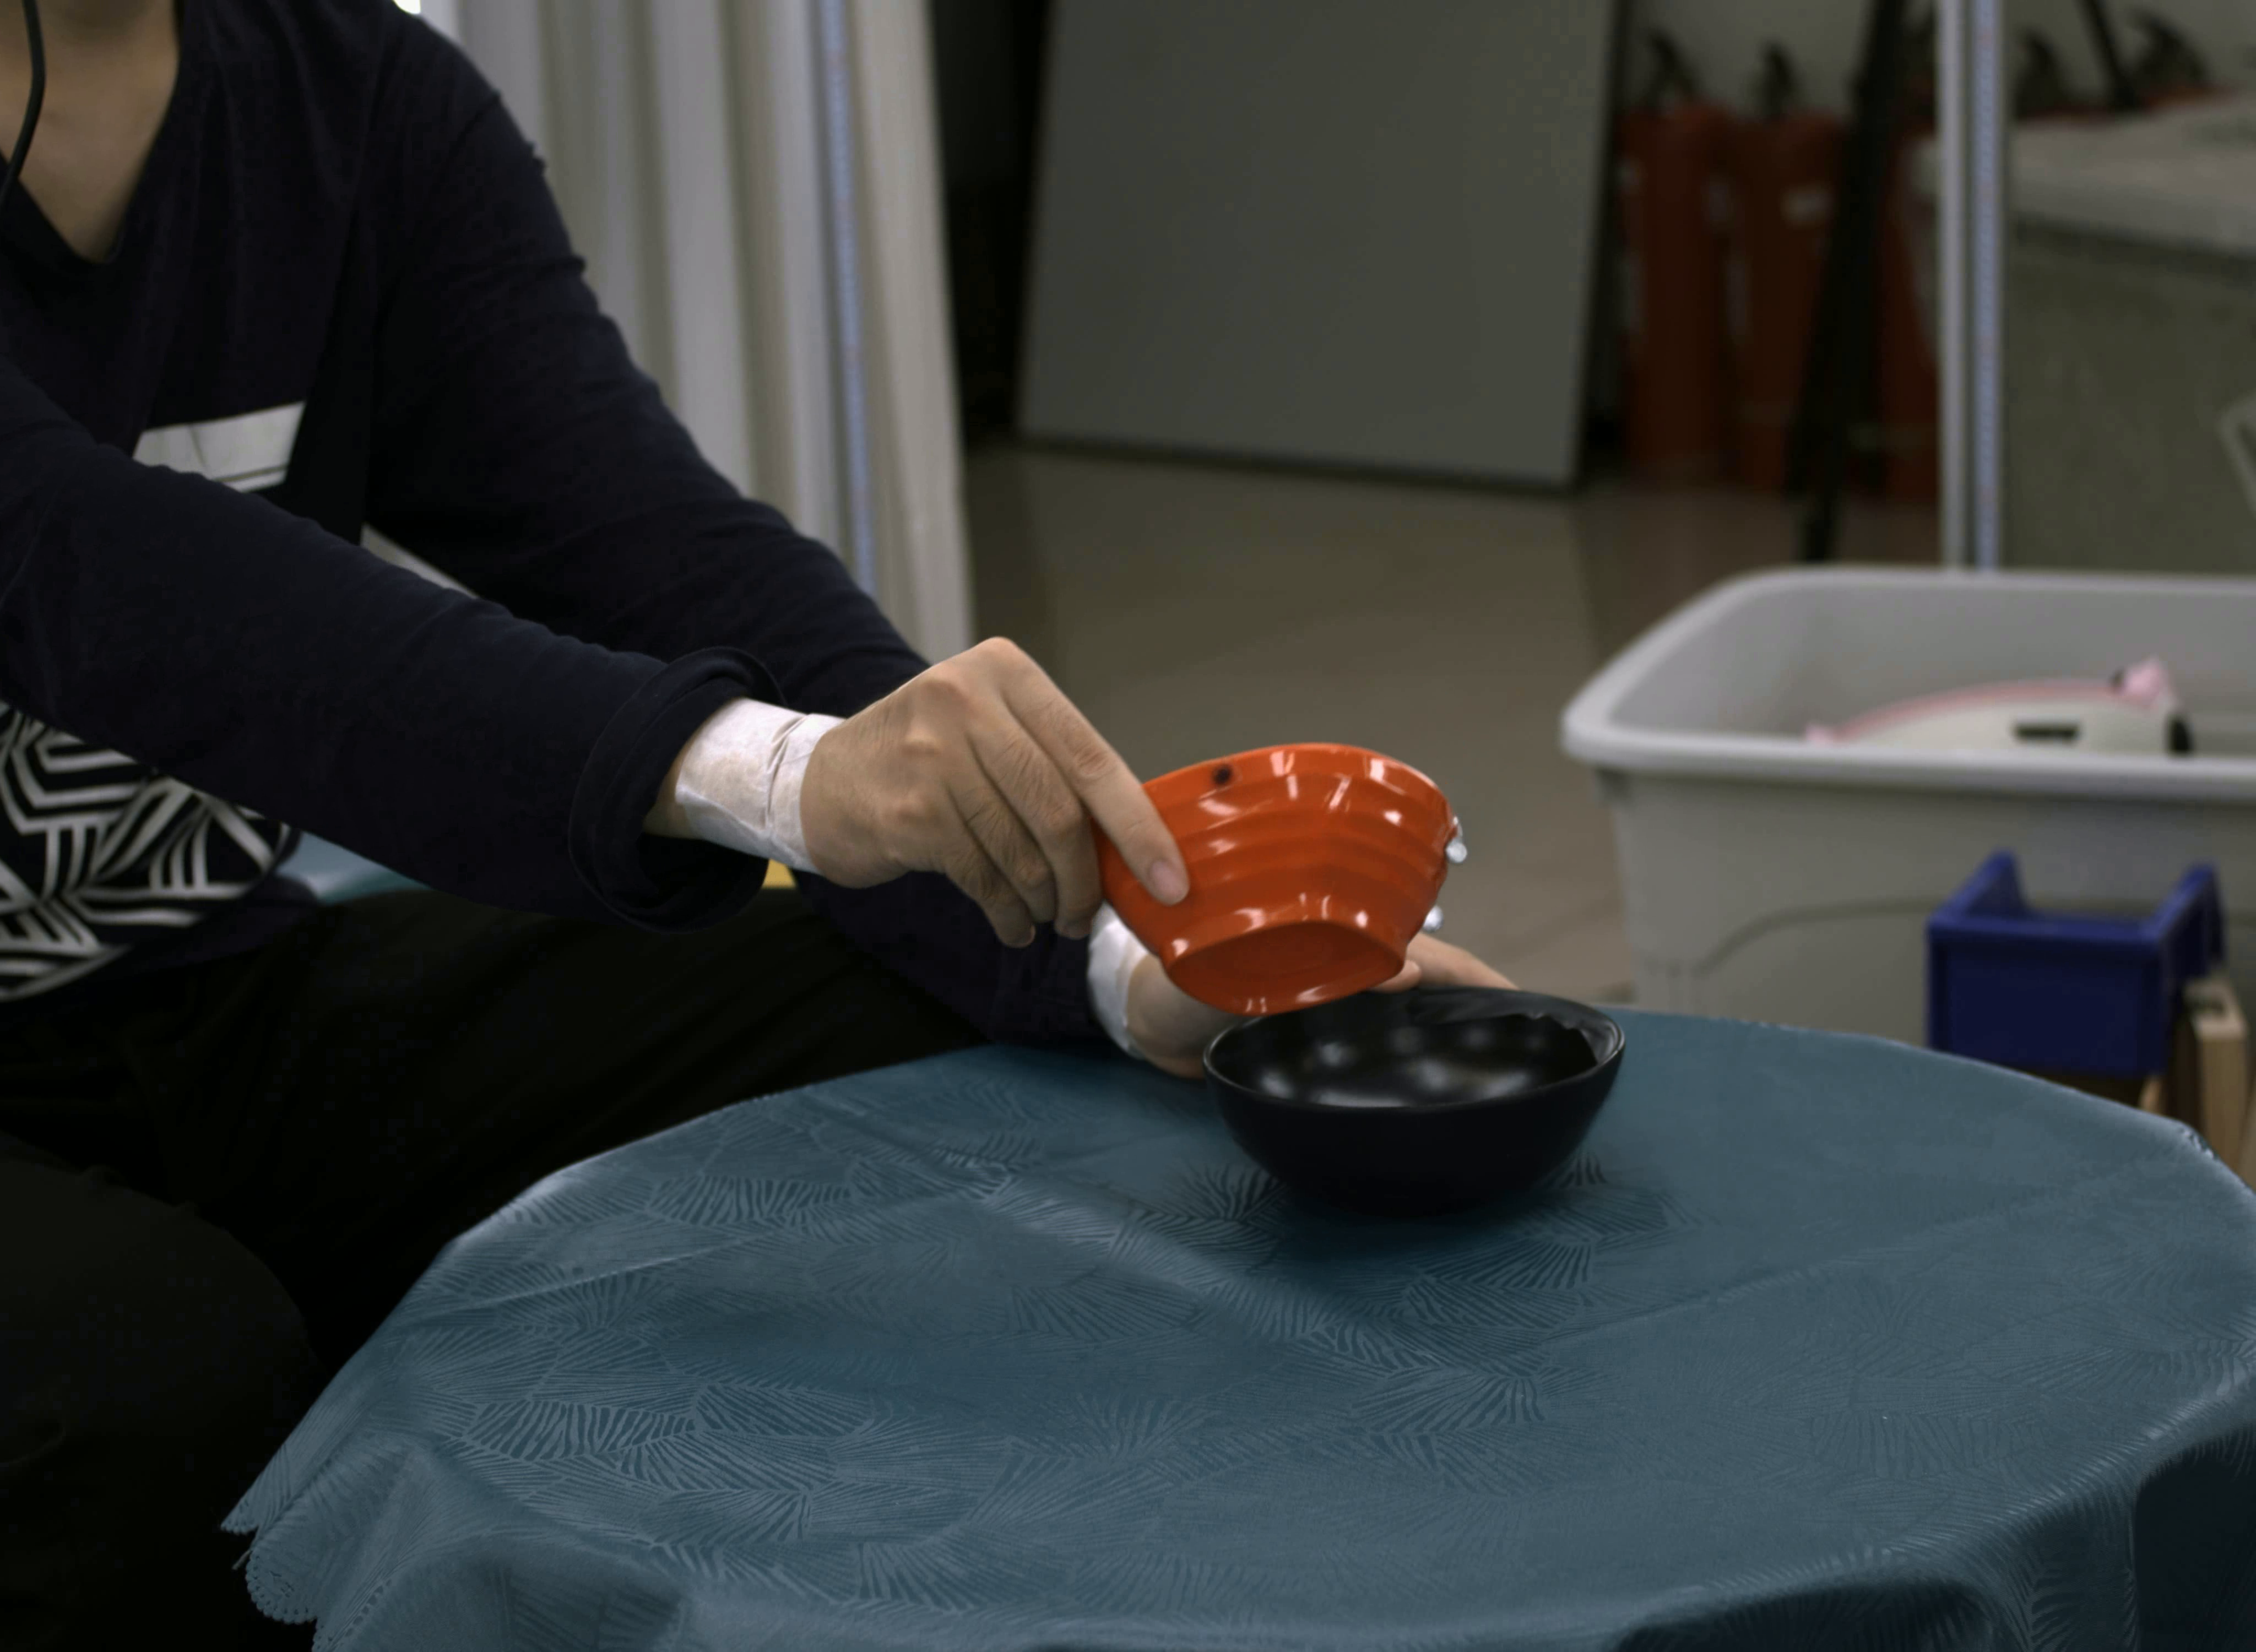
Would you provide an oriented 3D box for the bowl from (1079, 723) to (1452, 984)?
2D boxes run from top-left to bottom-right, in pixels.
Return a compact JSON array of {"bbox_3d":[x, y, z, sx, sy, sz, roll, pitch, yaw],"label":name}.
[{"bbox_3d":[0.045,0.013,1.658,0.117,0.052,0.119,-5,-19,-3],"label":"bowl"}]

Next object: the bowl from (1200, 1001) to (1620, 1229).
[{"bbox_3d":[0.094,0.098,1.753,0.138,0.050,0.140,-8,11,0],"label":"bowl"}]
